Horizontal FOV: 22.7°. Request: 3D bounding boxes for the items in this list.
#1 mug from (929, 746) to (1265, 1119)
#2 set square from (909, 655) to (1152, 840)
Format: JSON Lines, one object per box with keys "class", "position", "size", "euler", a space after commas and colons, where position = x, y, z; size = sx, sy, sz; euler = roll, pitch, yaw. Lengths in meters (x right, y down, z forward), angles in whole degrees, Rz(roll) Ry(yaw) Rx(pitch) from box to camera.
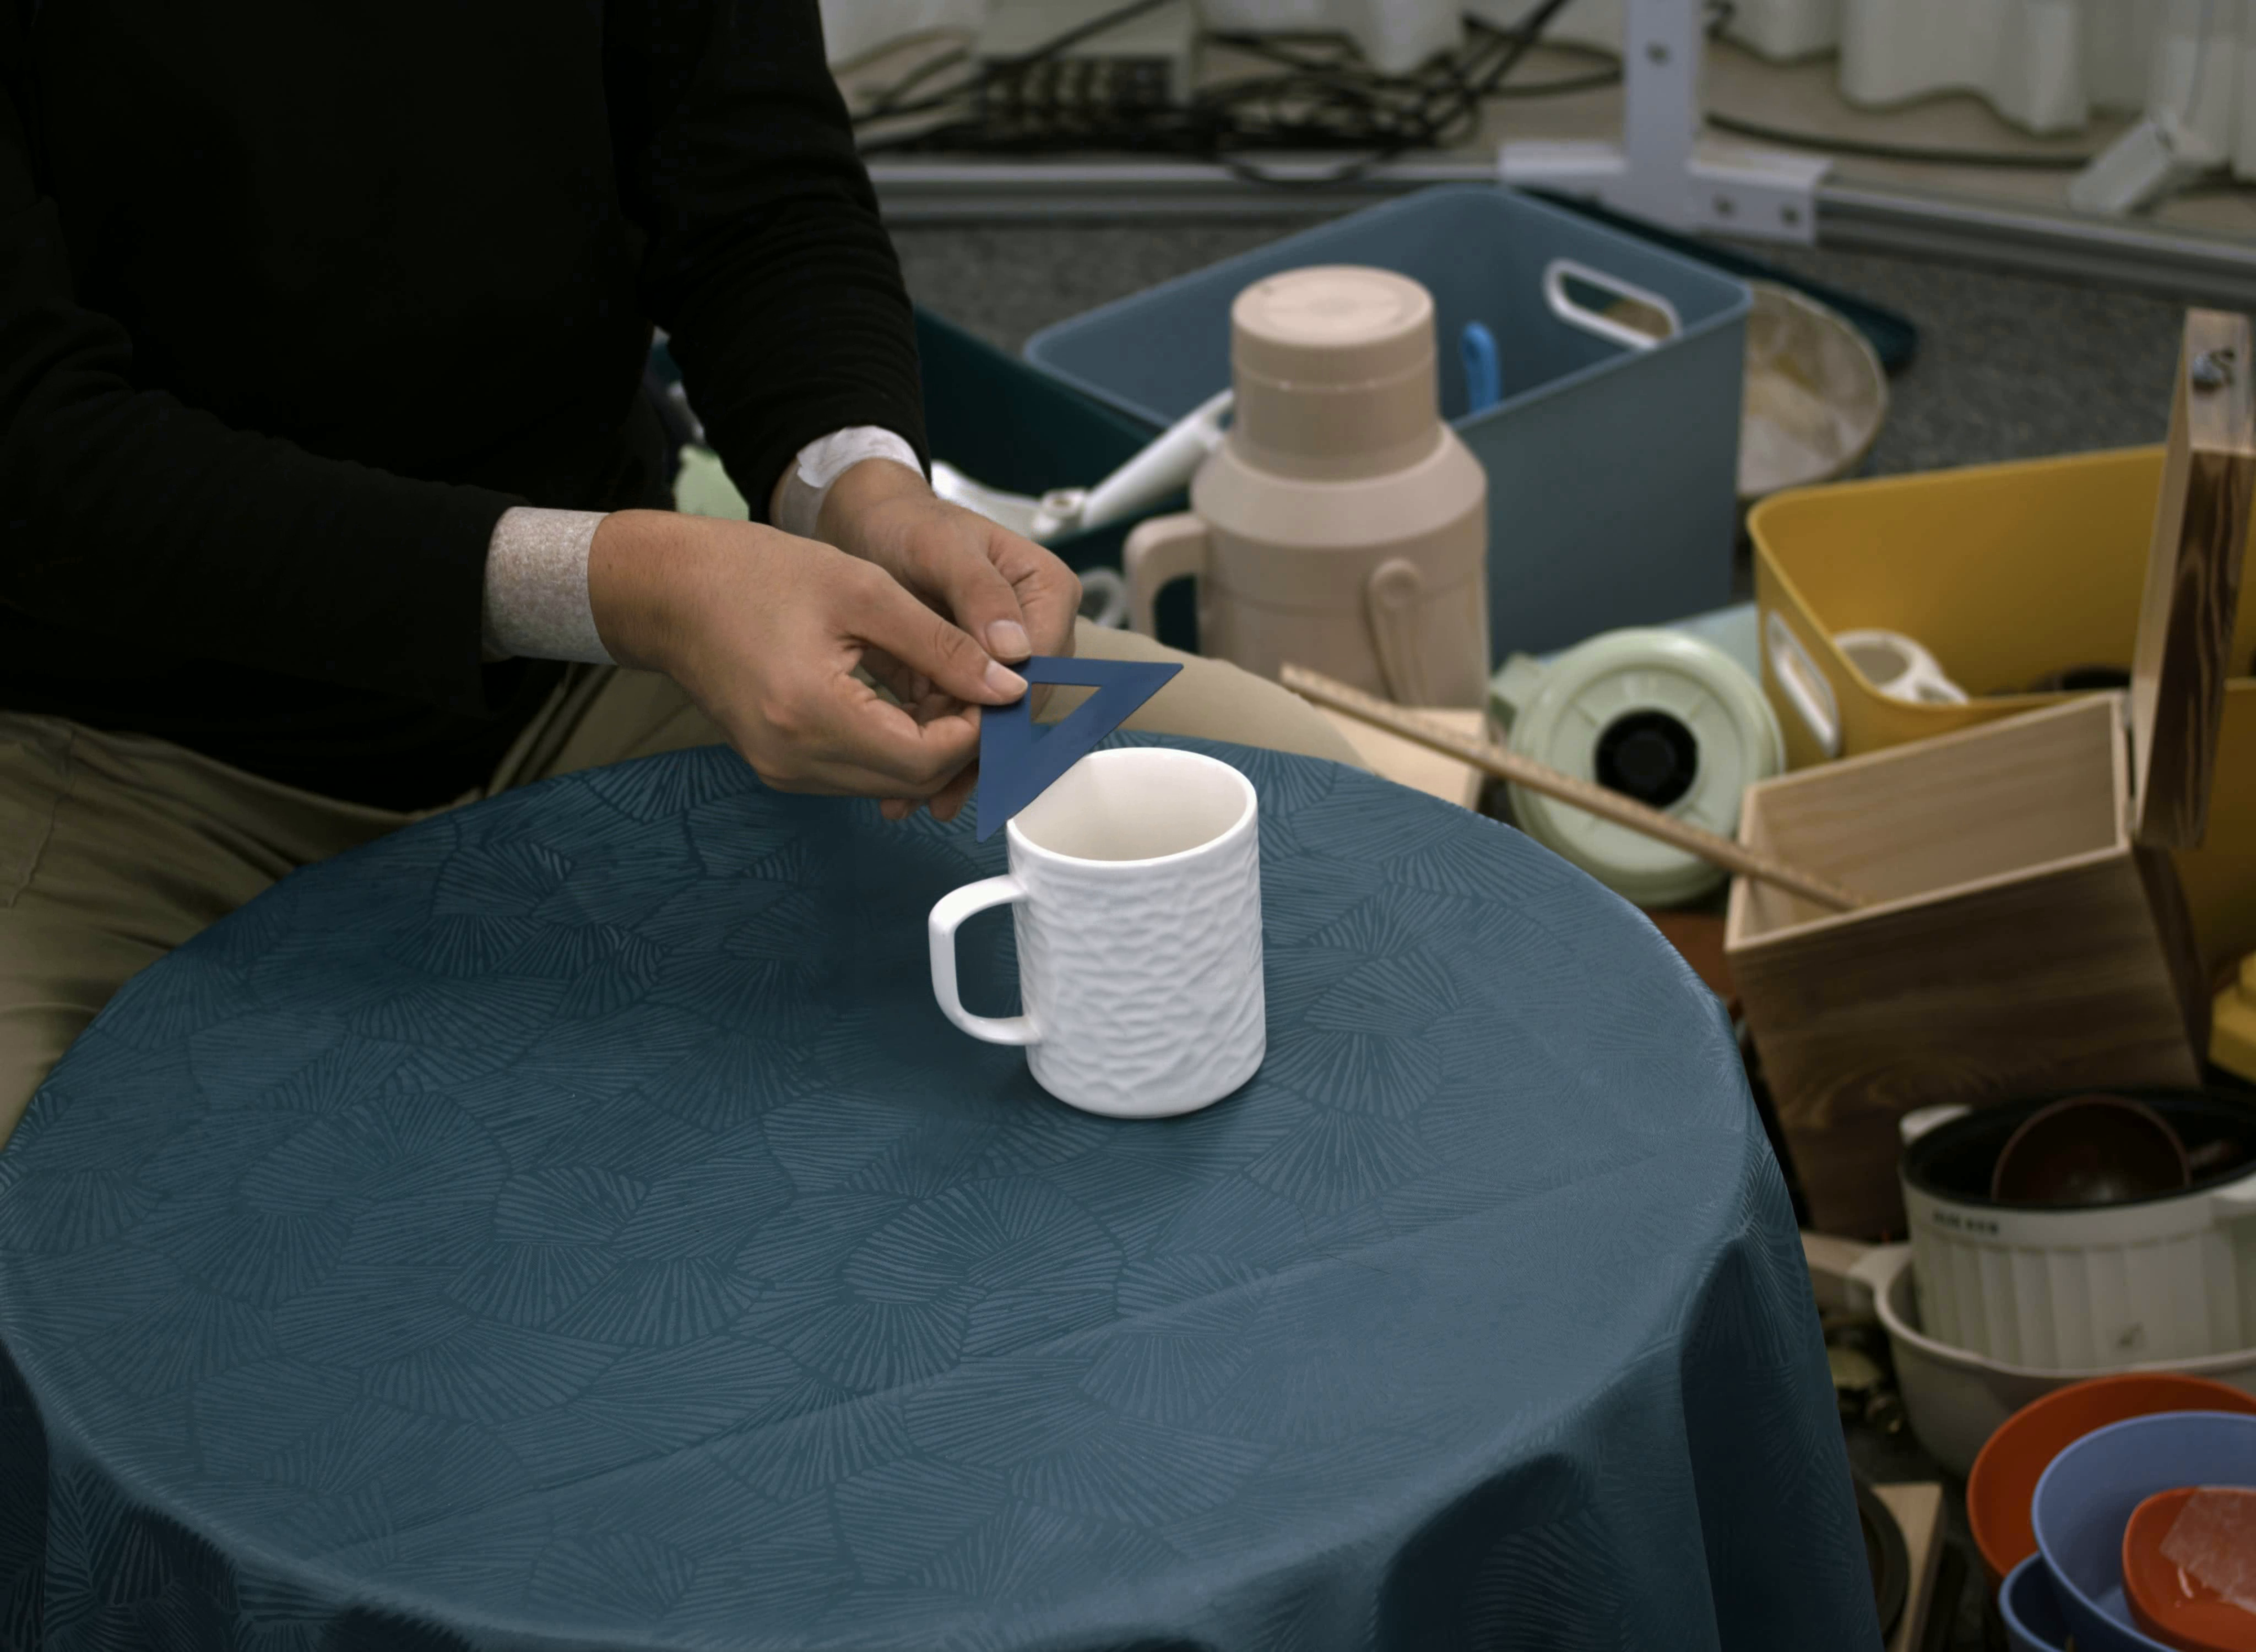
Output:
{"class": "mug", "position": [-0.010, 0.041, 1.908], "size": [0.119, 0.101, 0.085], "euler": [-14, 29, -21]}
{"class": "set square", "position": [-0.050, -0.034, 1.931], "size": [0.061, 0.006, 0.134], "euler": [24, 38, 25]}
